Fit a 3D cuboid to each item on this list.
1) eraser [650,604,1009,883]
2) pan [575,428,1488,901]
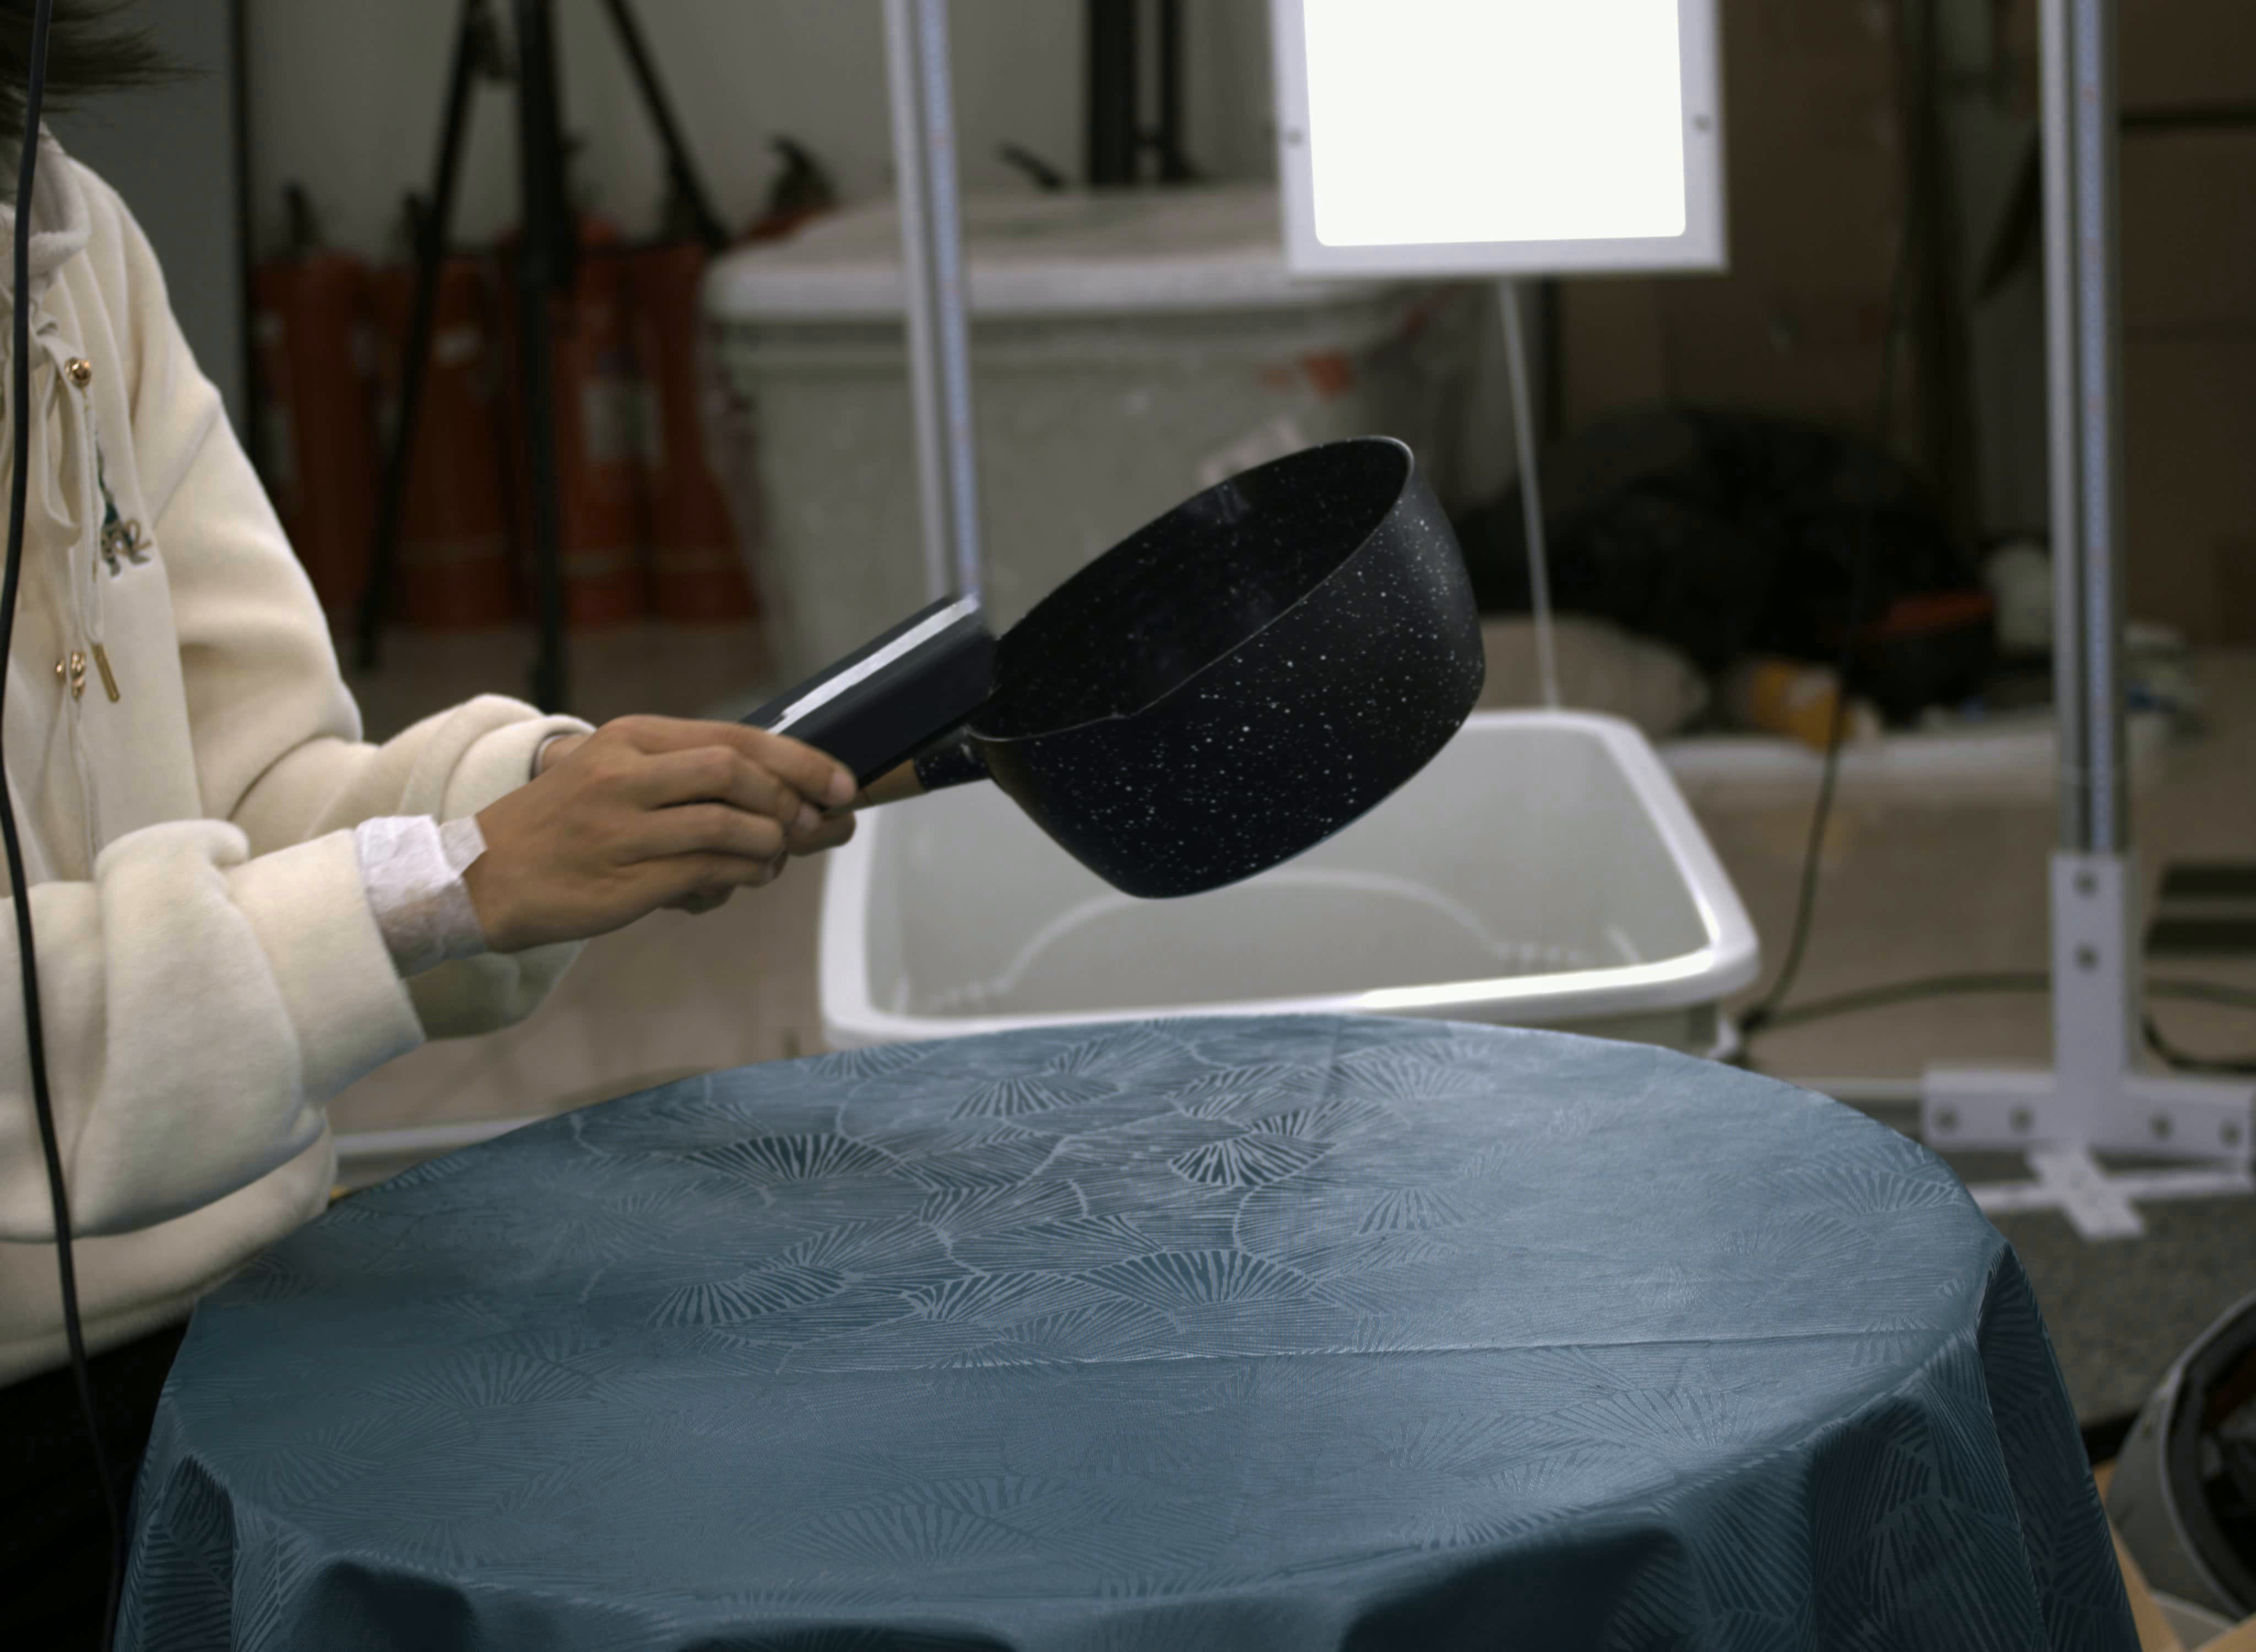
[{"bbox_3d":[-0.101,-0.029,1.875,0.125,0.030,0.054,-32,21,-1],"label":"eraser"},{"bbox_3d":[-0.032,-0.028,1.954,0.347,0.108,0.205,-25,20,20],"label":"pan"}]
